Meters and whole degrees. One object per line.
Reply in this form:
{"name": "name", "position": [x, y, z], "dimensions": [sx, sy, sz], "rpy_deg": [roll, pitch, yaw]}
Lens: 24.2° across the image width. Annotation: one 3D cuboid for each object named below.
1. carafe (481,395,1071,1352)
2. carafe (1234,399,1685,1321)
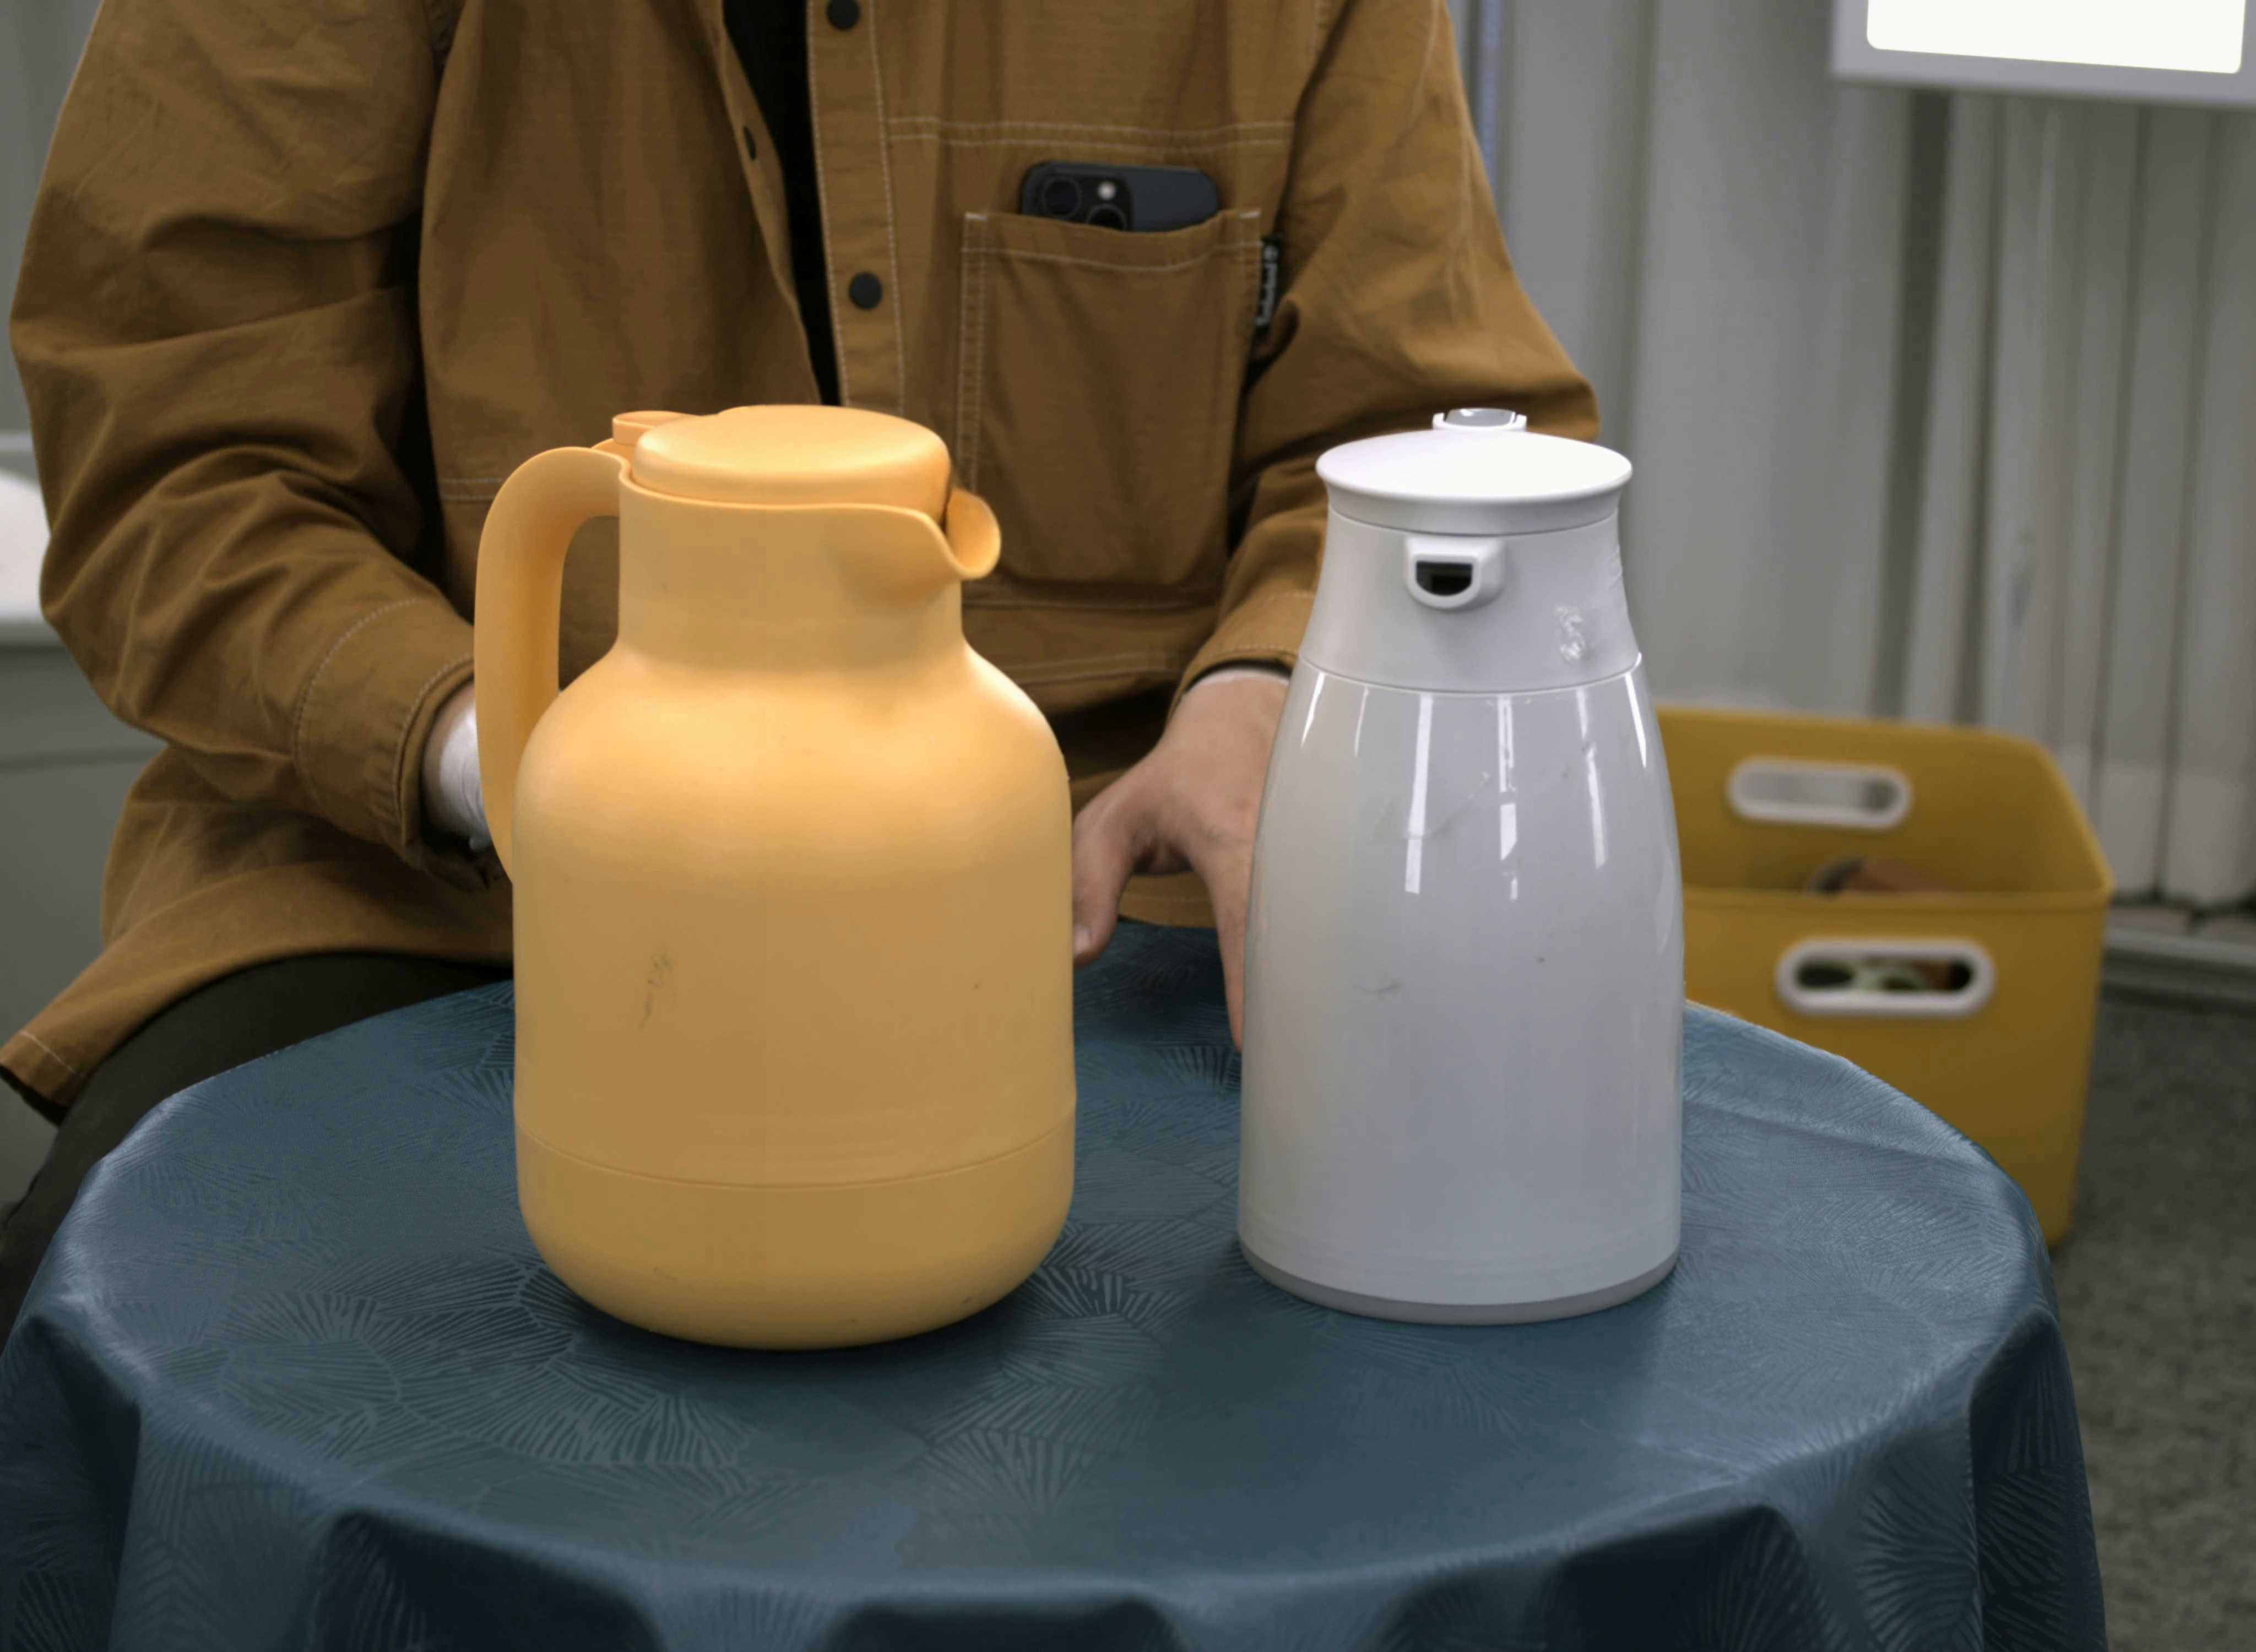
{"name": "carafe", "position": [-0.110, 0.005, 1.517], "dimensions": [0.199, 0.262, 0.164], "rpy_deg": [16, 20, 41]}
{"name": "carafe", "position": [0.101, 0.001, 1.559], "dimensions": [0.132, 0.250, 0.167], "rpy_deg": [3, 16, 9]}
